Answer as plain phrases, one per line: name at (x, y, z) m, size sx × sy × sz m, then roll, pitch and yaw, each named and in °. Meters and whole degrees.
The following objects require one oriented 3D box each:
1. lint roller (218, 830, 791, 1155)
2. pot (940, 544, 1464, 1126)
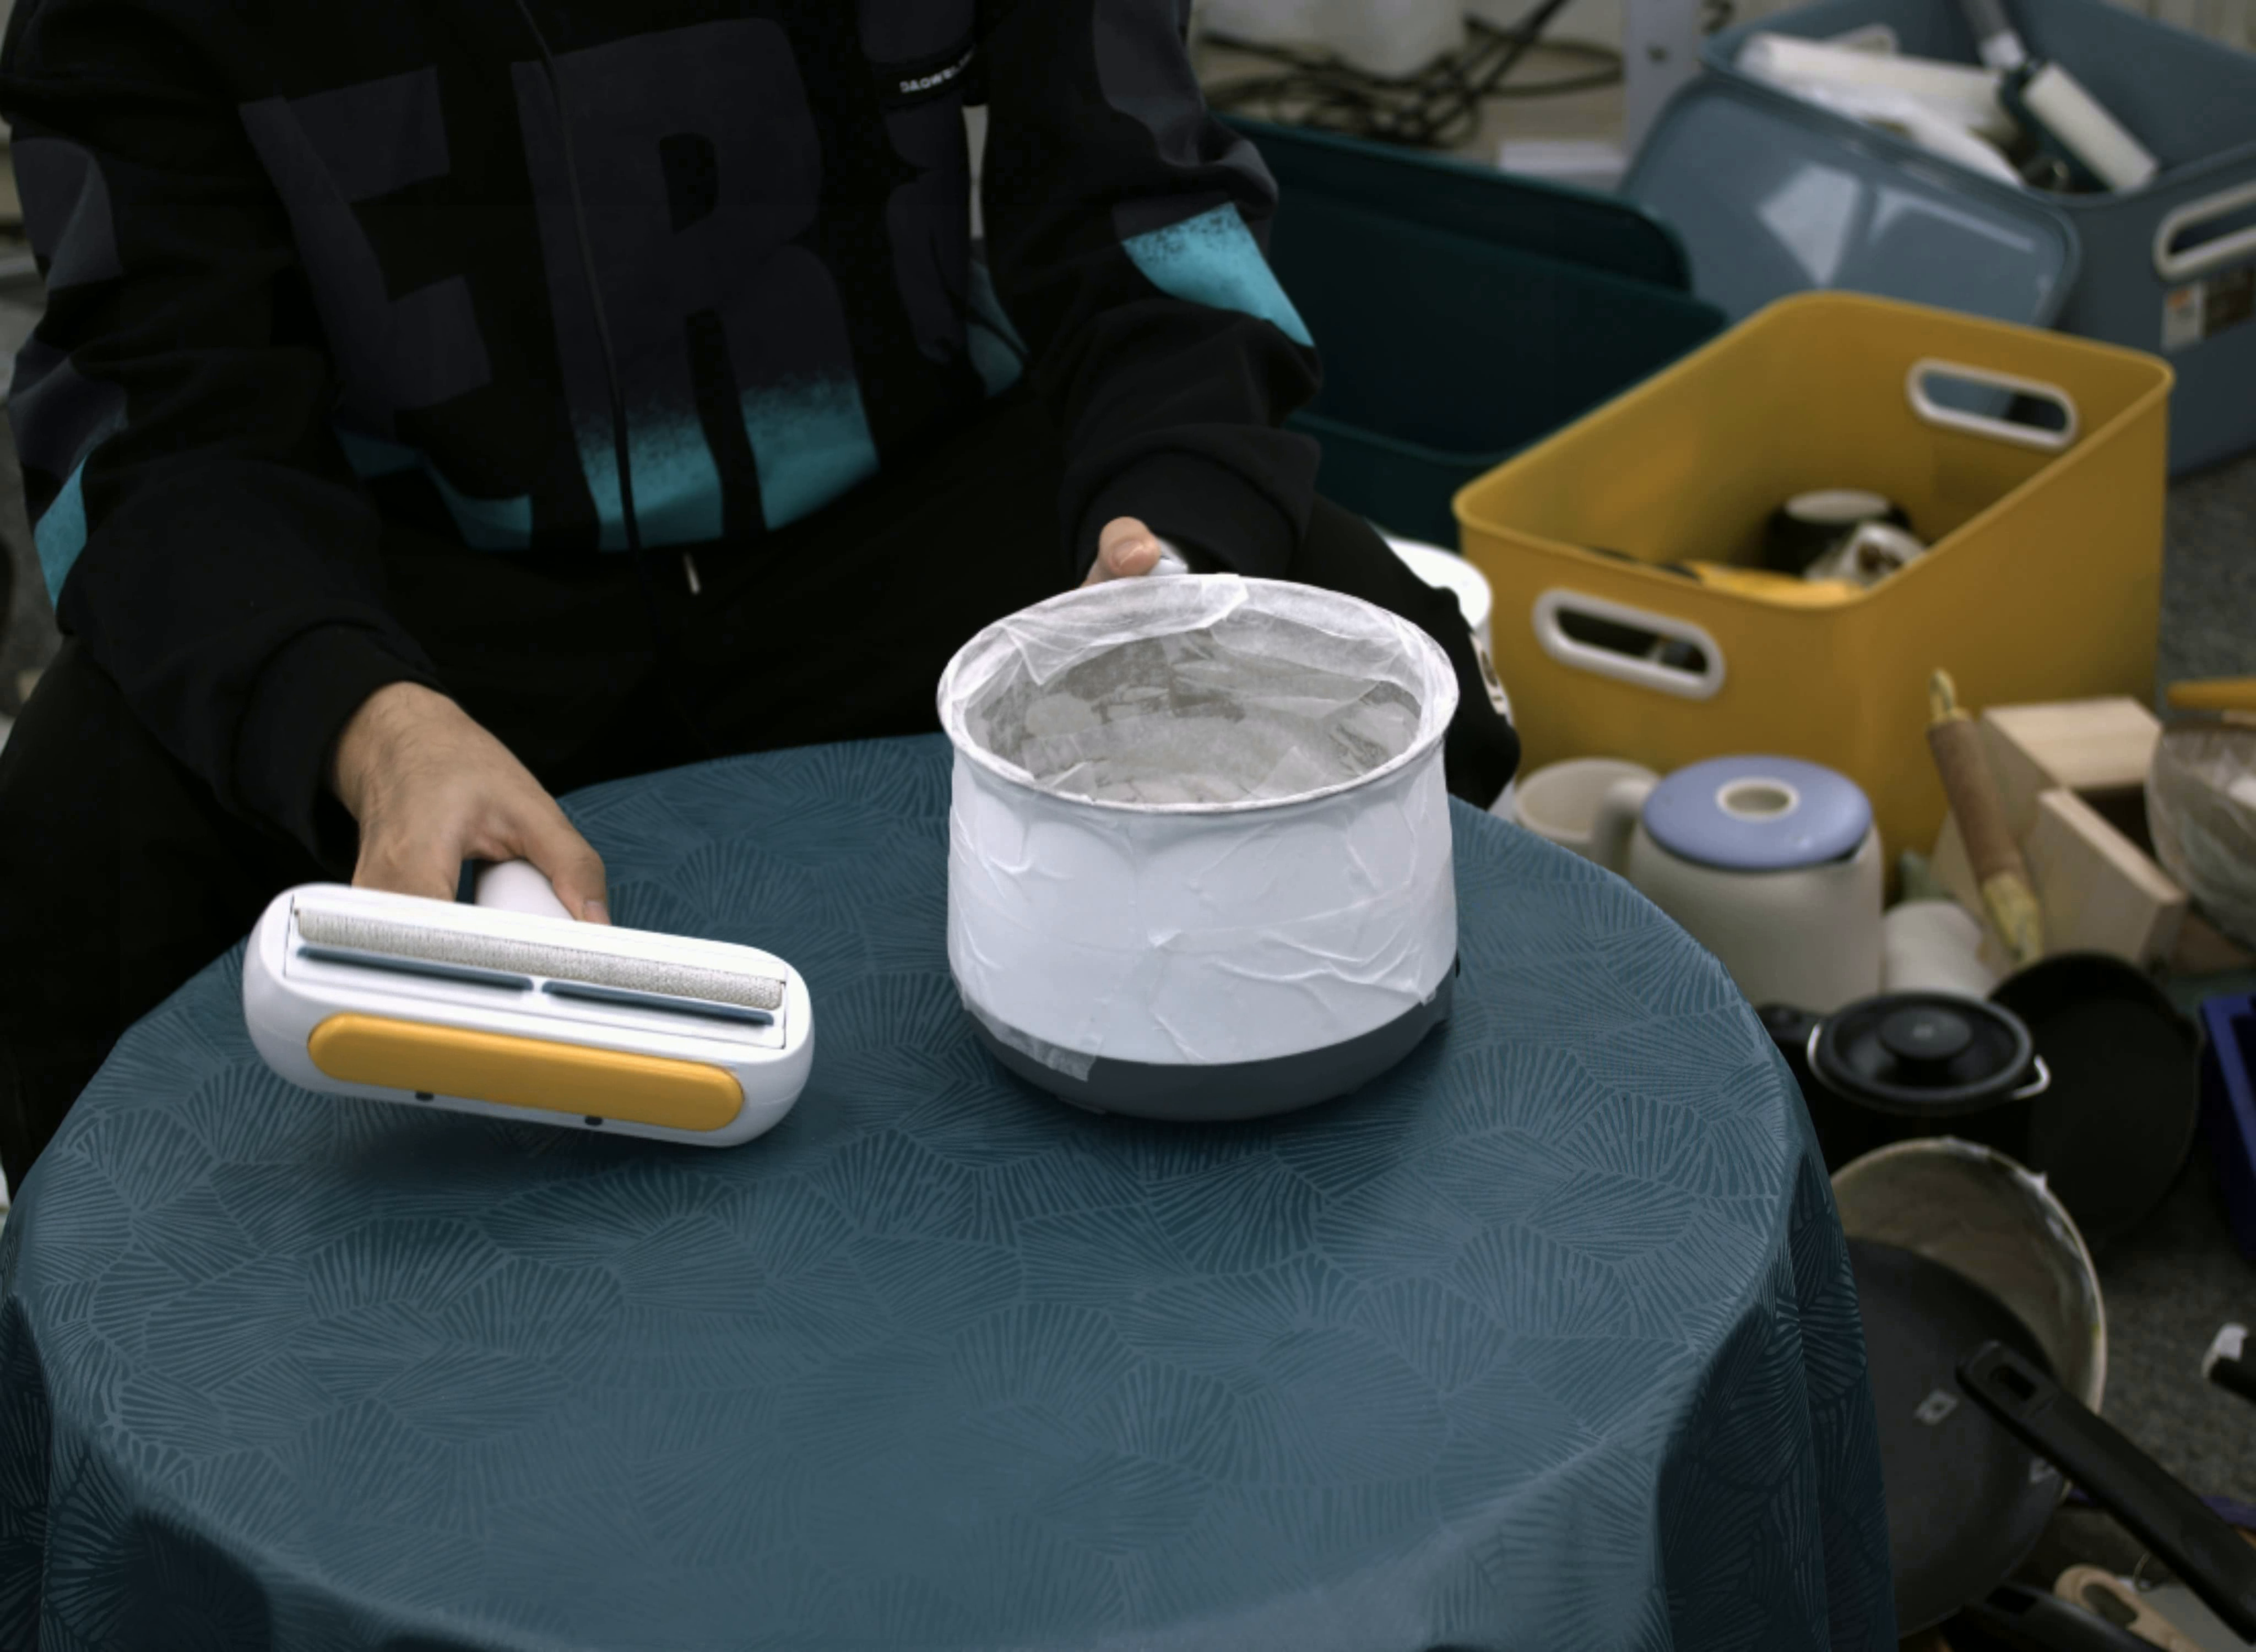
lint roller at (-0.211, 0.041, 1.942) m, size 0.192 × 0.073 × 0.195 m, roll 6°, pitch 30°, yaw -5°
pot at (0.021, -0.004, 1.946) m, size 0.178 × 0.135 × 0.237 m, roll -4°, pitch 28°, yaw -8°
